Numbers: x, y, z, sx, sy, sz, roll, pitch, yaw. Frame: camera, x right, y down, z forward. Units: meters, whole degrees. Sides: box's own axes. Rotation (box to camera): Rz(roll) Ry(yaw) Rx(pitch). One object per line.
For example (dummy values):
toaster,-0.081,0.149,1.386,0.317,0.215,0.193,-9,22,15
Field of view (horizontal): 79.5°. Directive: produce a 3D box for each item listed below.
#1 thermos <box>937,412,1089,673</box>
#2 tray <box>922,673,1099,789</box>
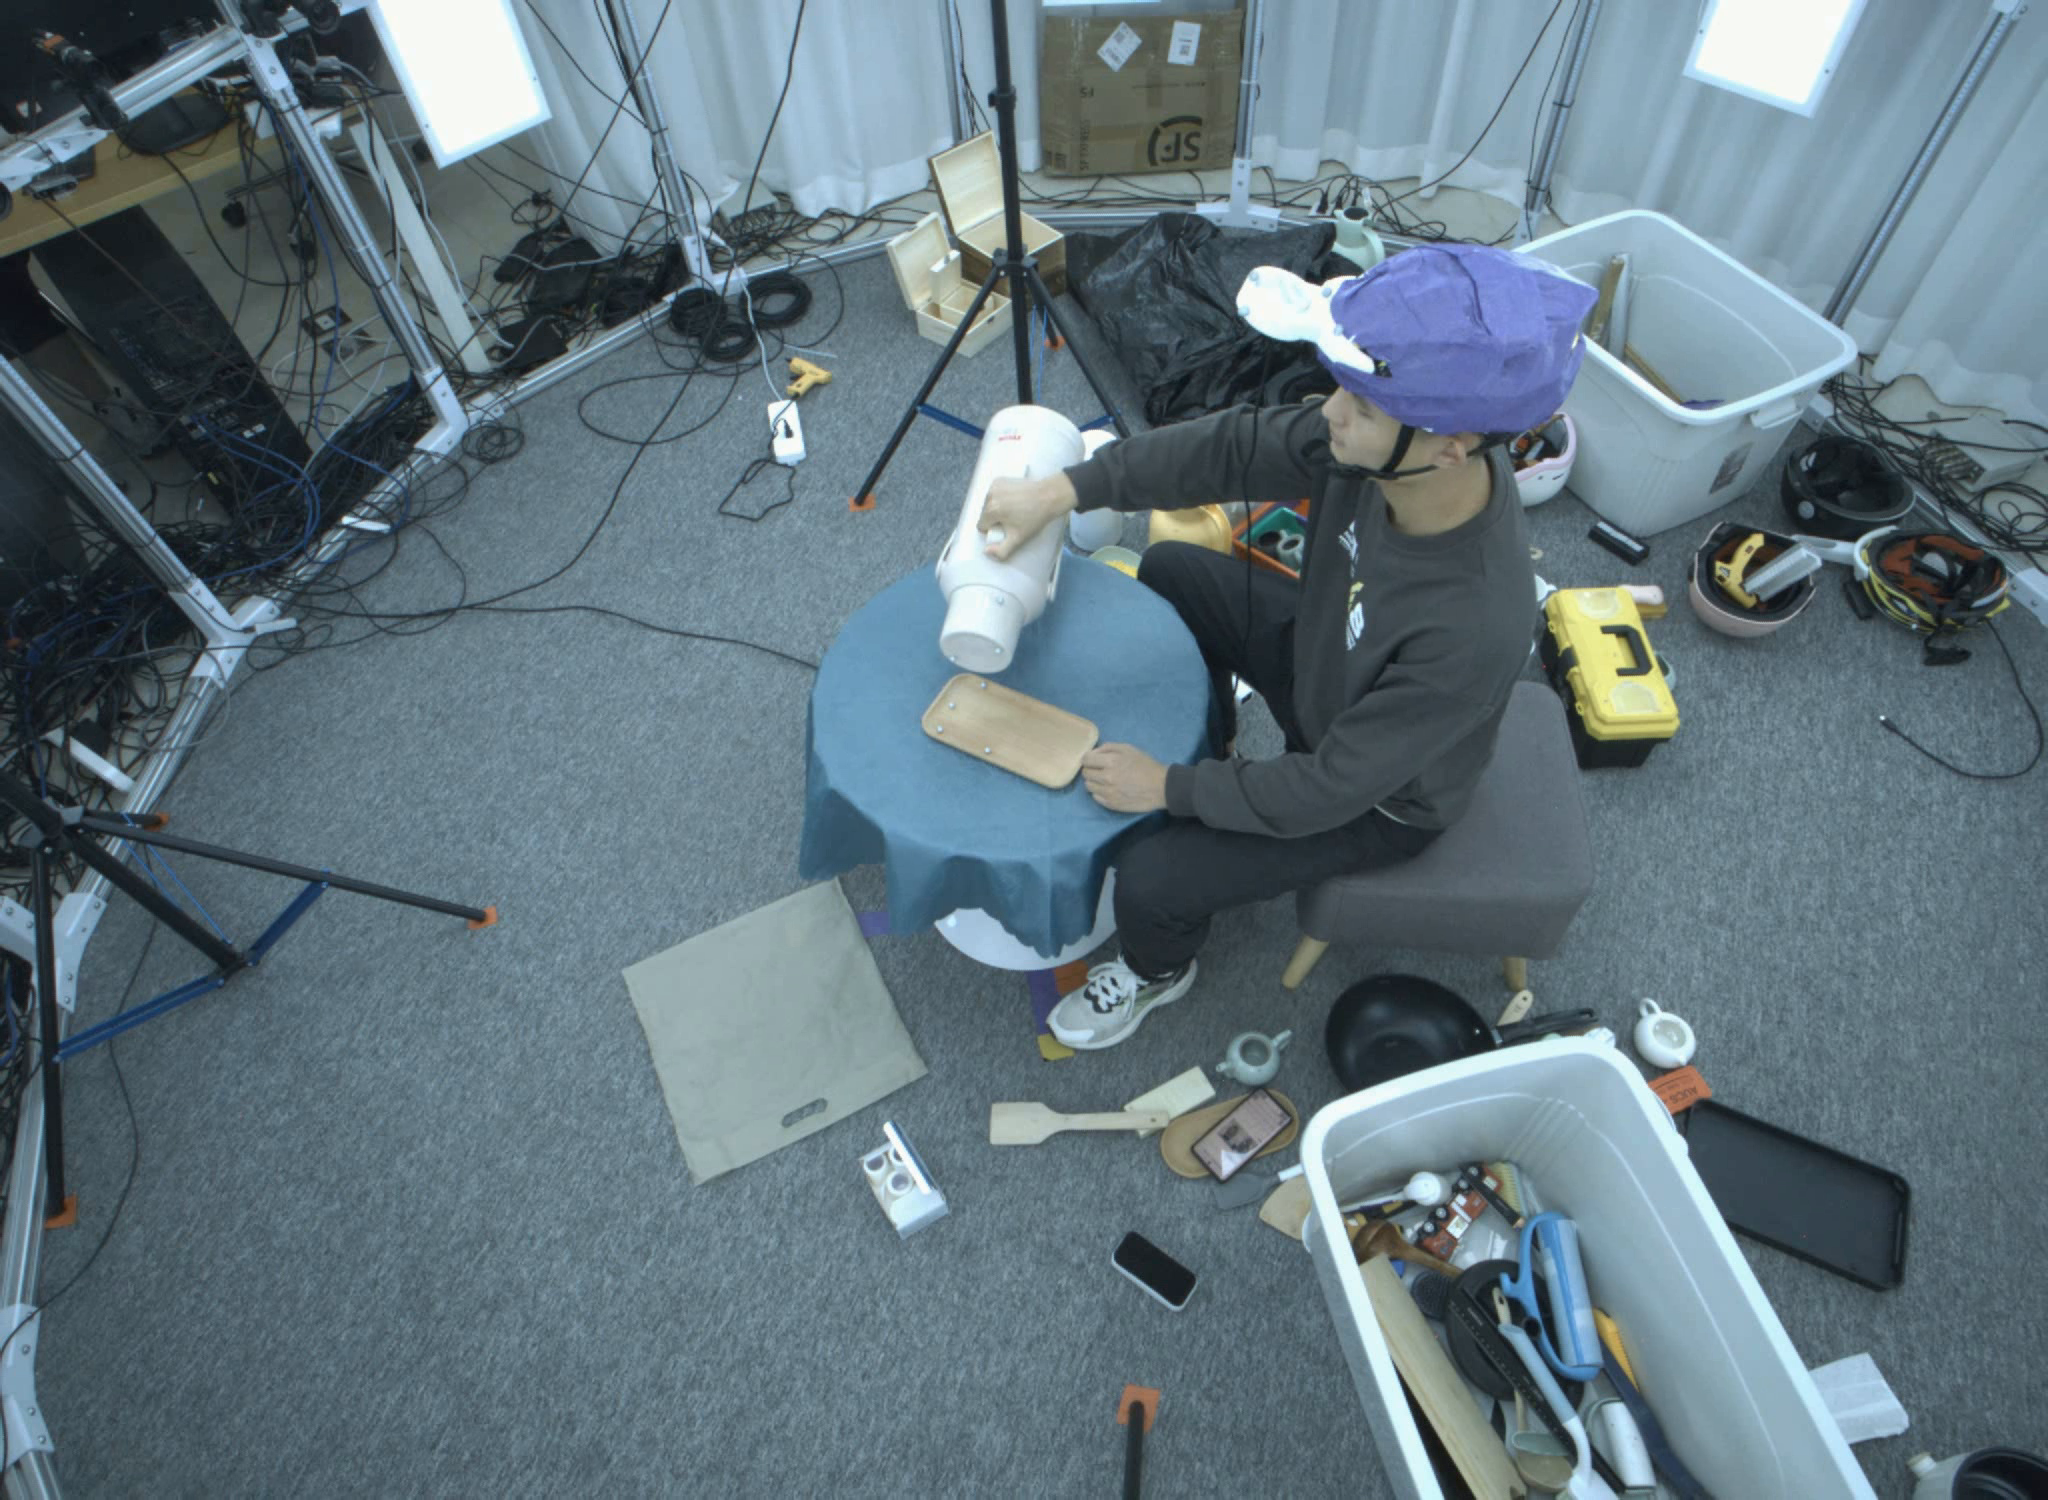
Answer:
thermos,-0.021,-0.313,1.789,0.175,0.208,0.404,13,62,5
tray,-0.020,-0.029,1.797,0.247,0.023,0.131,24,61,17
